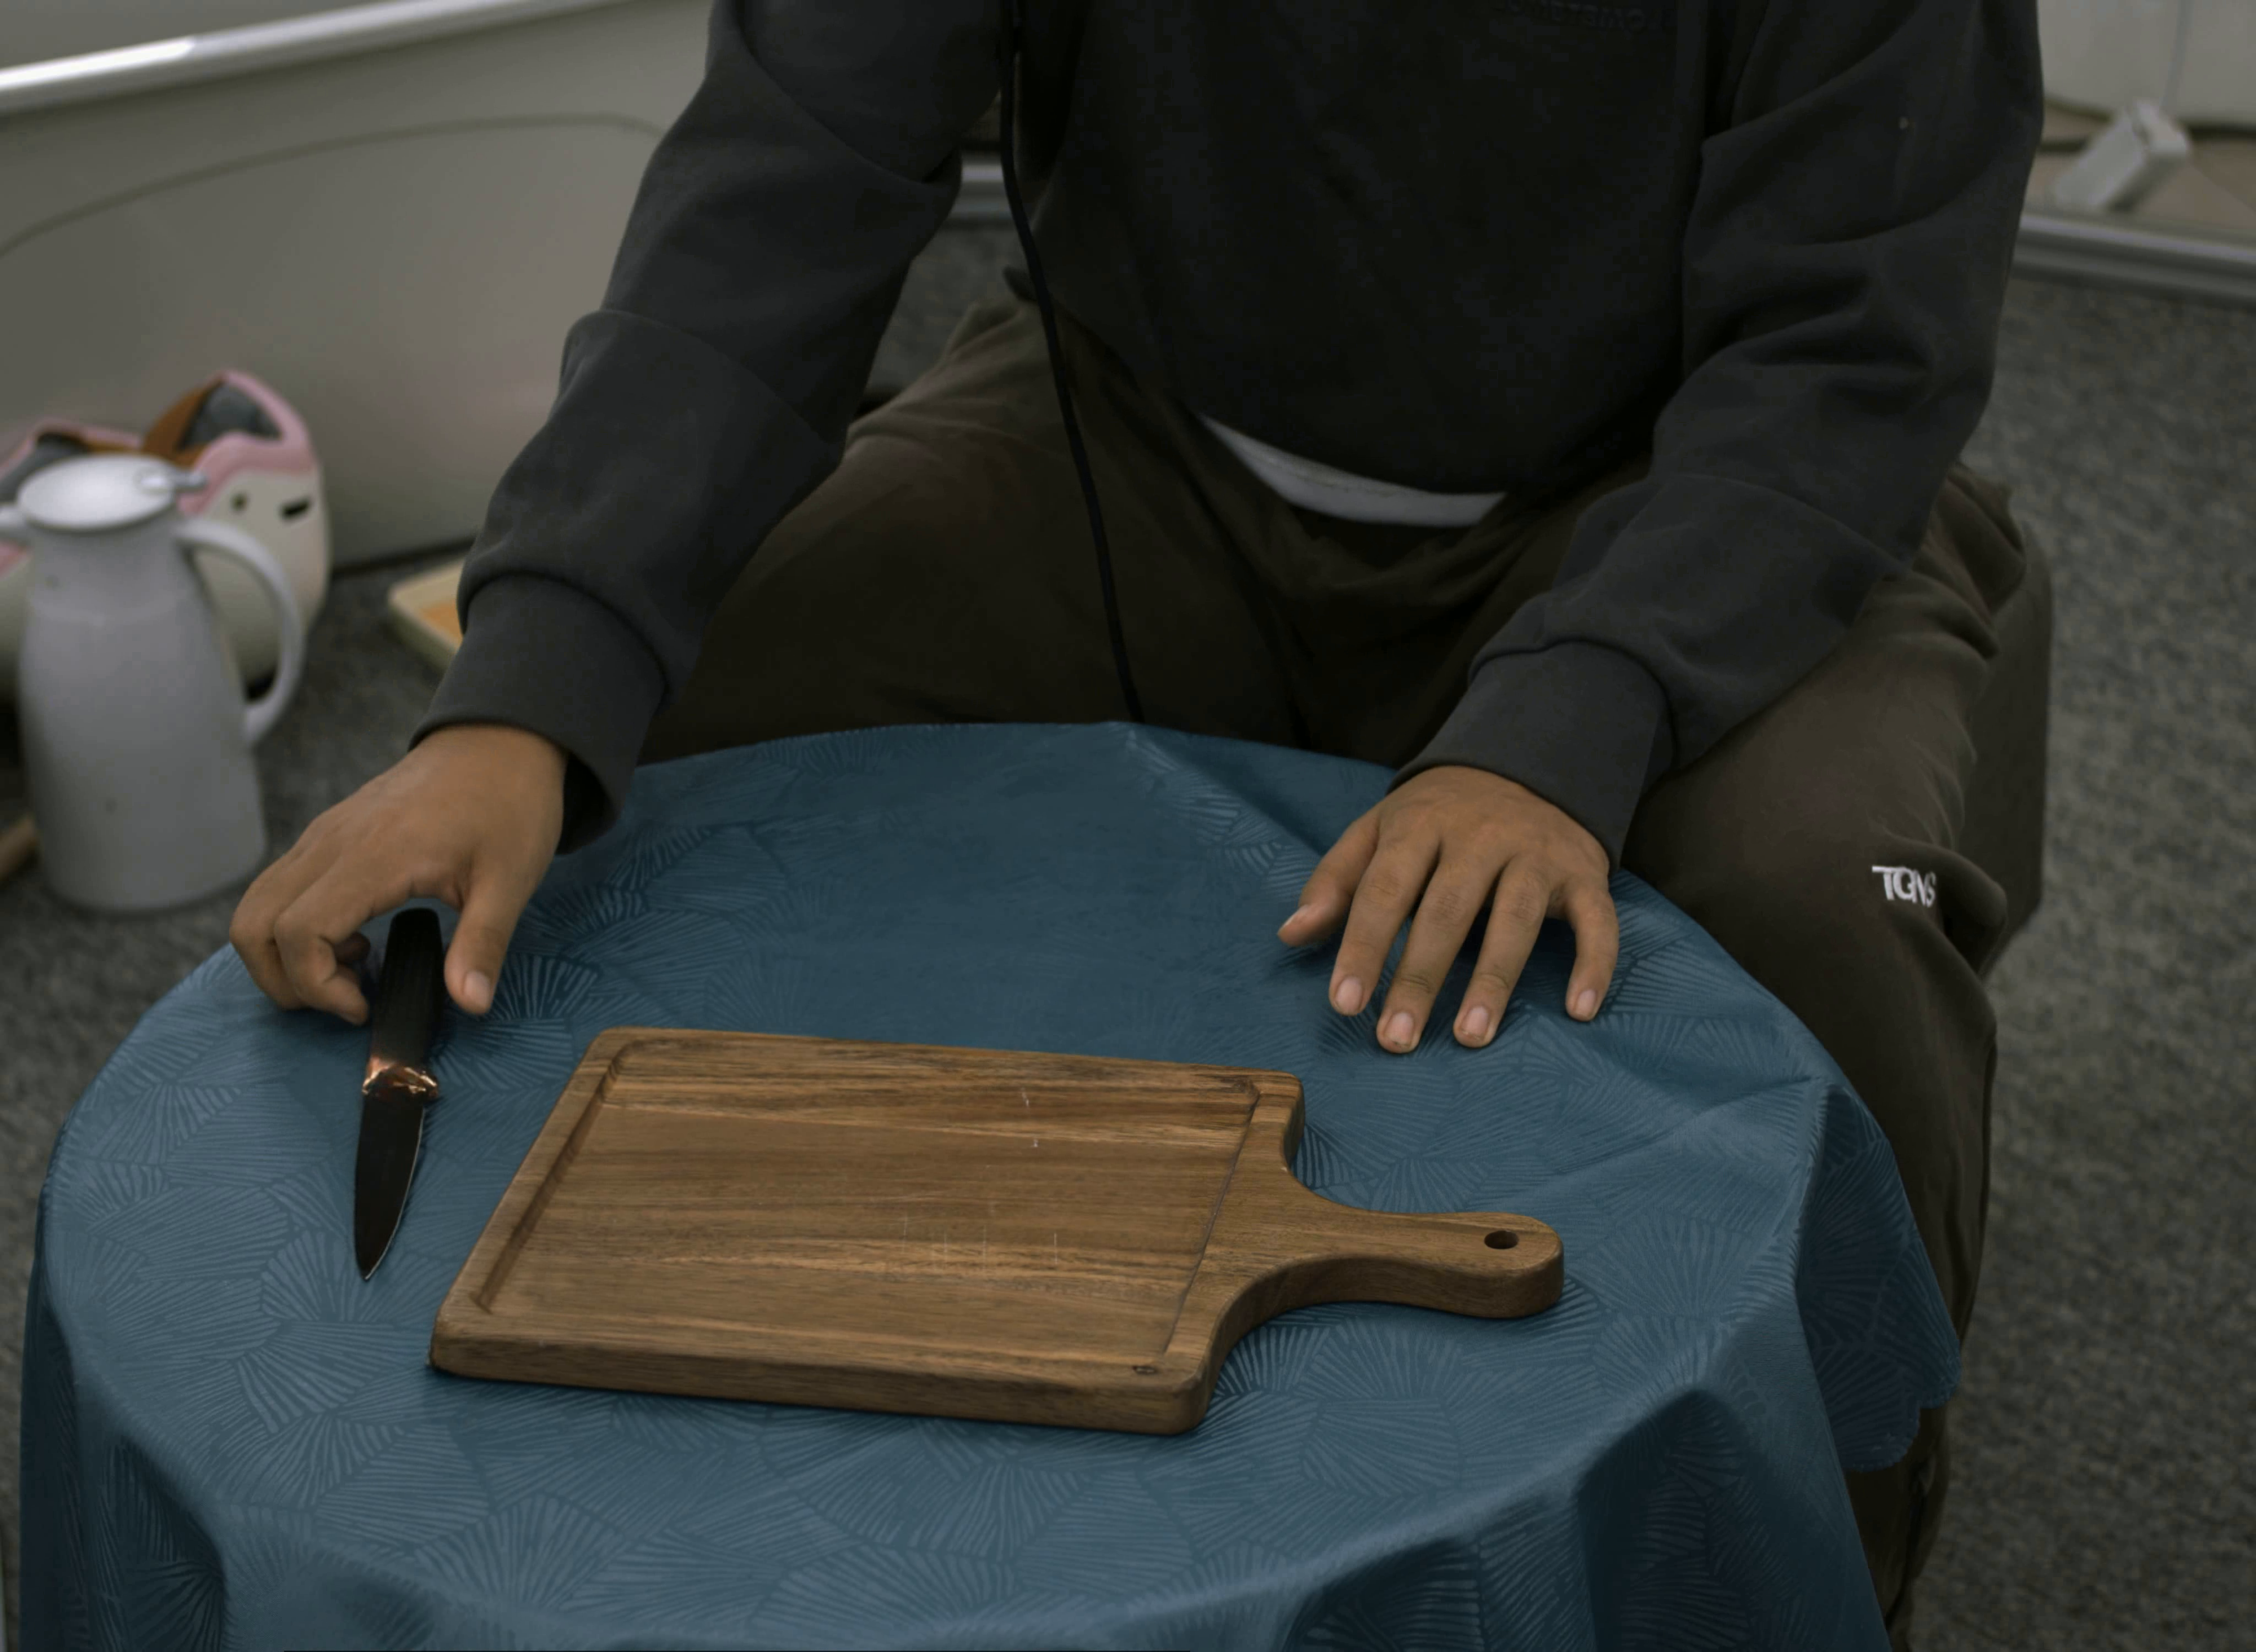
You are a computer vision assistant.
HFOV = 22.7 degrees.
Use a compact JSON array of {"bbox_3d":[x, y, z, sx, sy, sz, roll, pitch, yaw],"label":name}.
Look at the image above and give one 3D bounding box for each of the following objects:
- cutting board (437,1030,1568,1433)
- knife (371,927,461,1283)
[{"bbox_3d":[-0.032,0.132,1.826,0.350,0.023,0.204,3,28,11],"label":"cutting board"},{"bbox_3d":[-0.247,0.095,1.928,0.026,0.017,0.229,3,28,-3],"label":"knife"}]
